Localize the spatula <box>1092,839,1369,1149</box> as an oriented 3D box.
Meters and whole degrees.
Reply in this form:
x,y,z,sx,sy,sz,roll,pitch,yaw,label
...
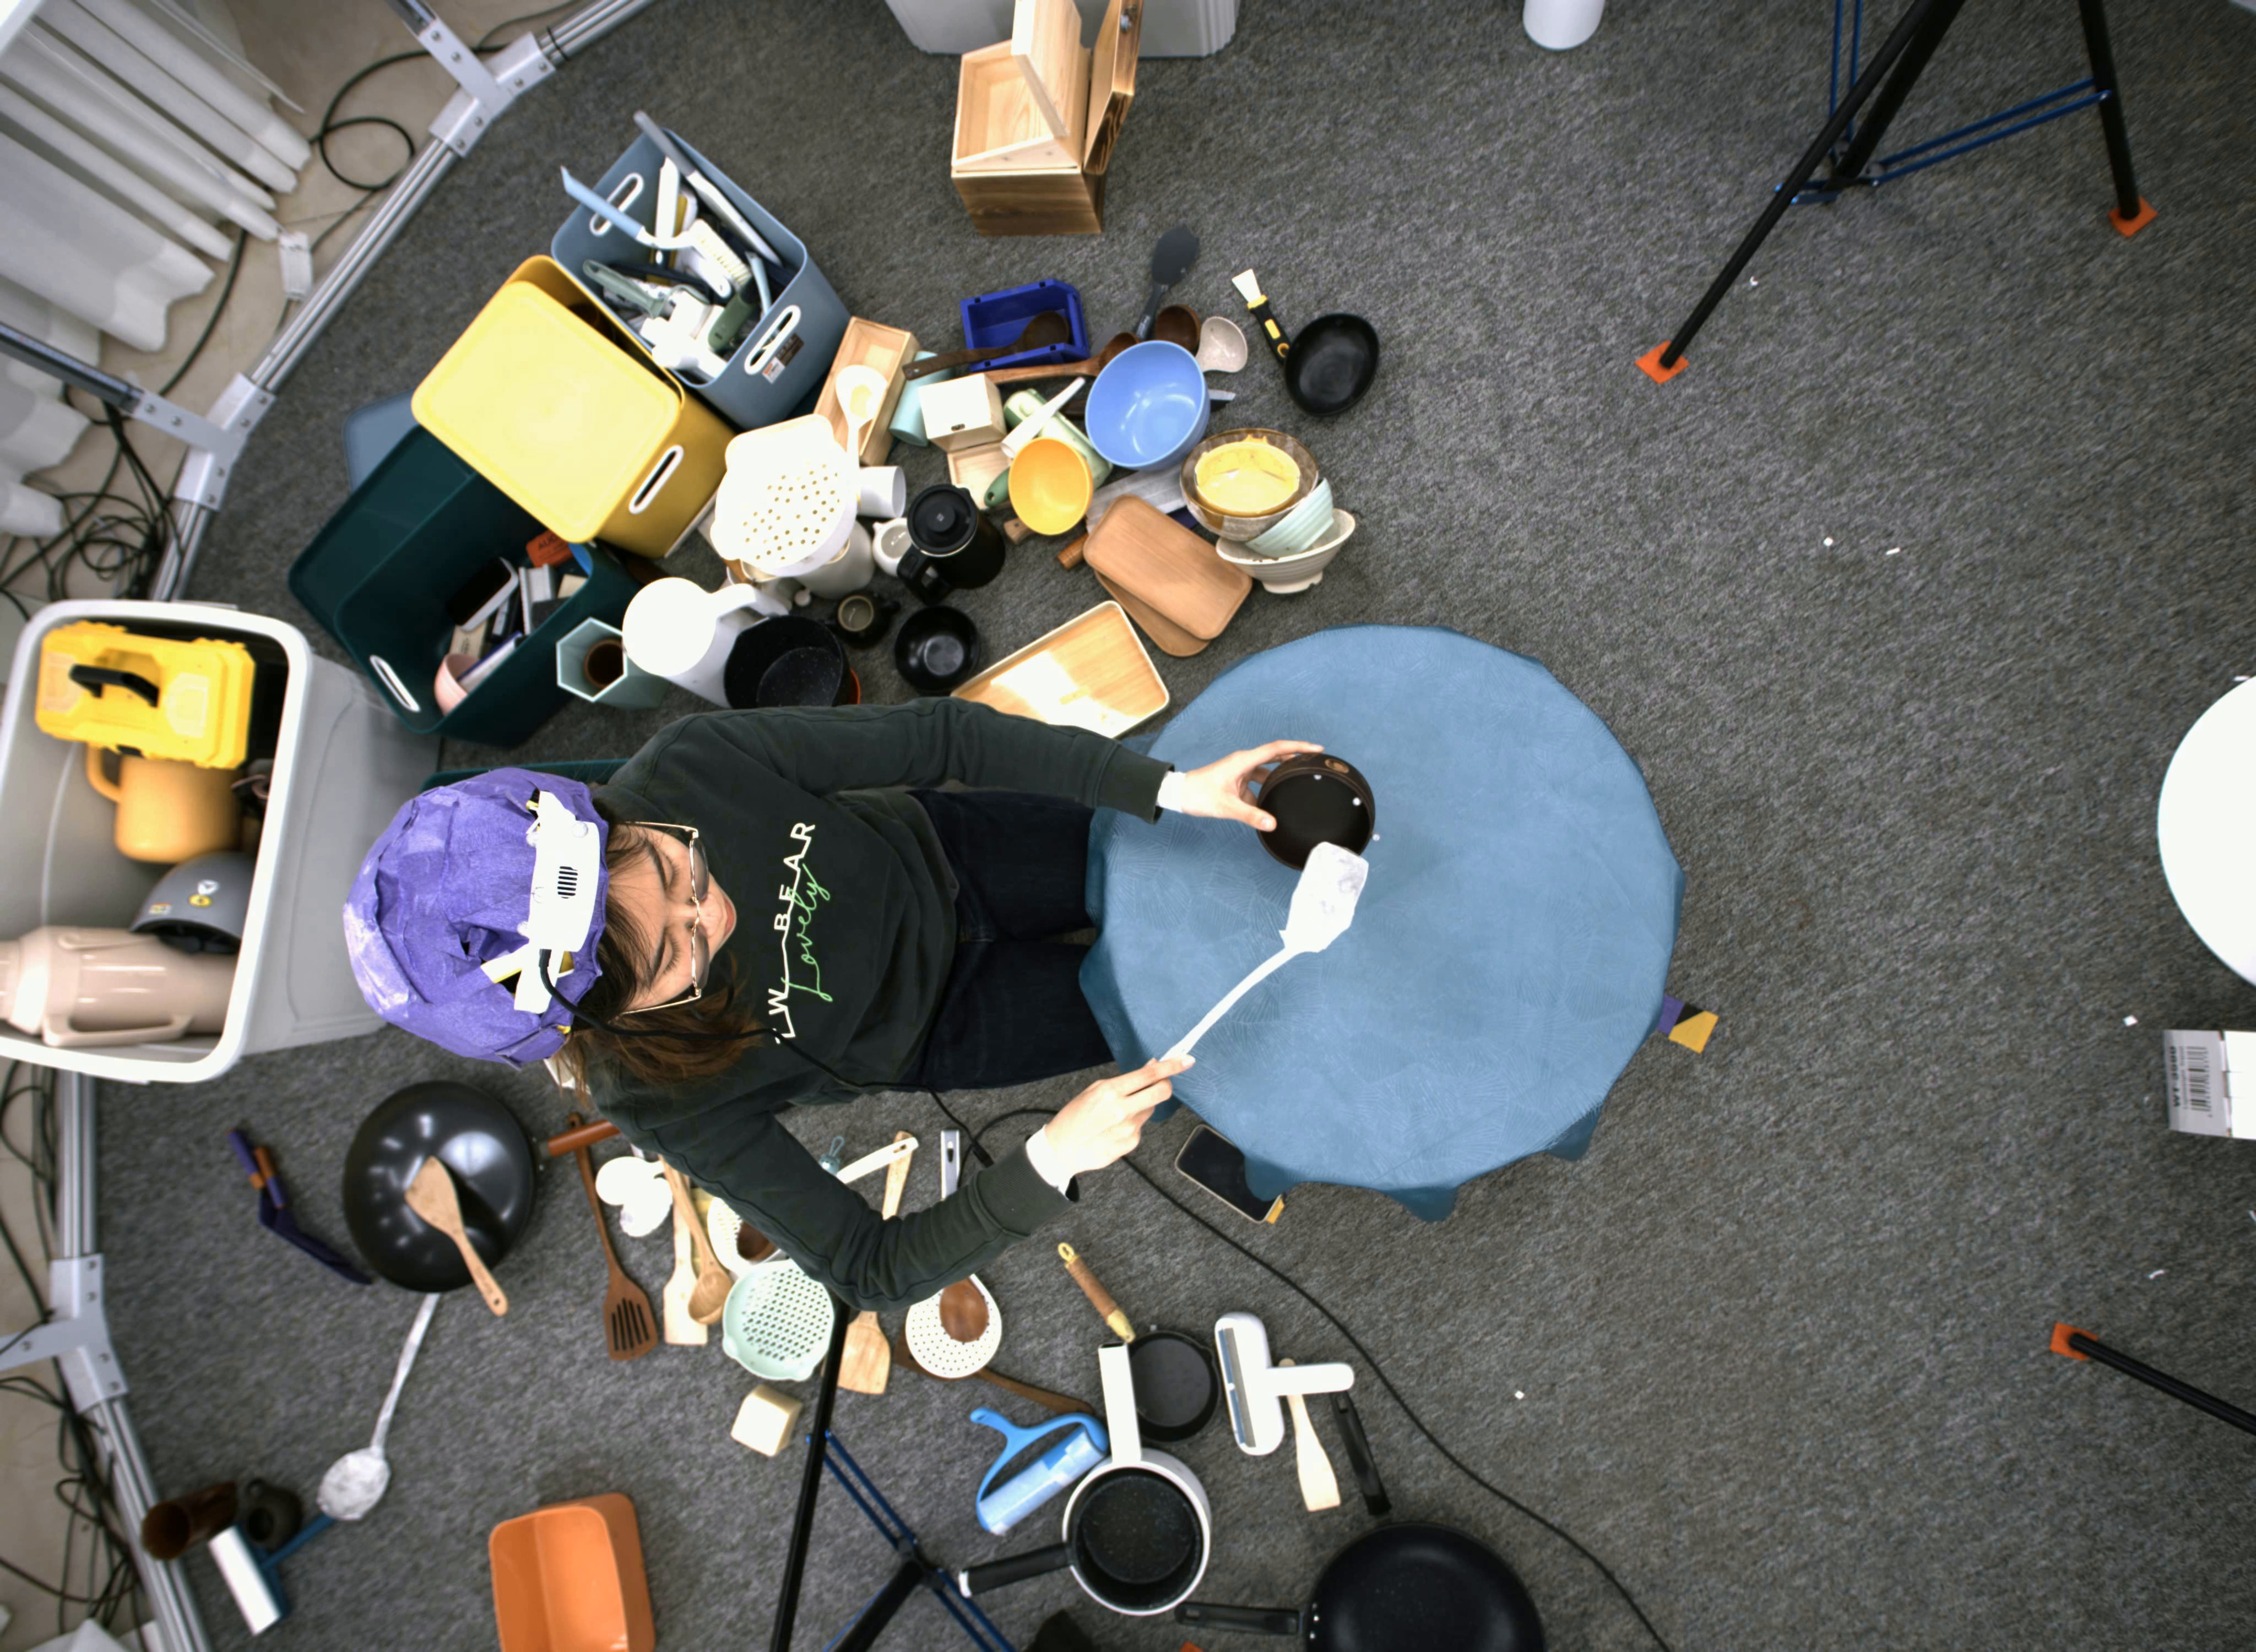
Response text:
x,y,z,sx,sy,sz,roll,pitch,yaw,label
0.088,0.158,1.270,0.364,0.098,0.045,-45,119,-3,spatula

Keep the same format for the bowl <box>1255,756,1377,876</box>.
x,y,z,sx,sy,sz,roll,pitch,yaw,label
0.186,-0.017,1.352,0.118,0.068,0.121,8,122,12,bowl
